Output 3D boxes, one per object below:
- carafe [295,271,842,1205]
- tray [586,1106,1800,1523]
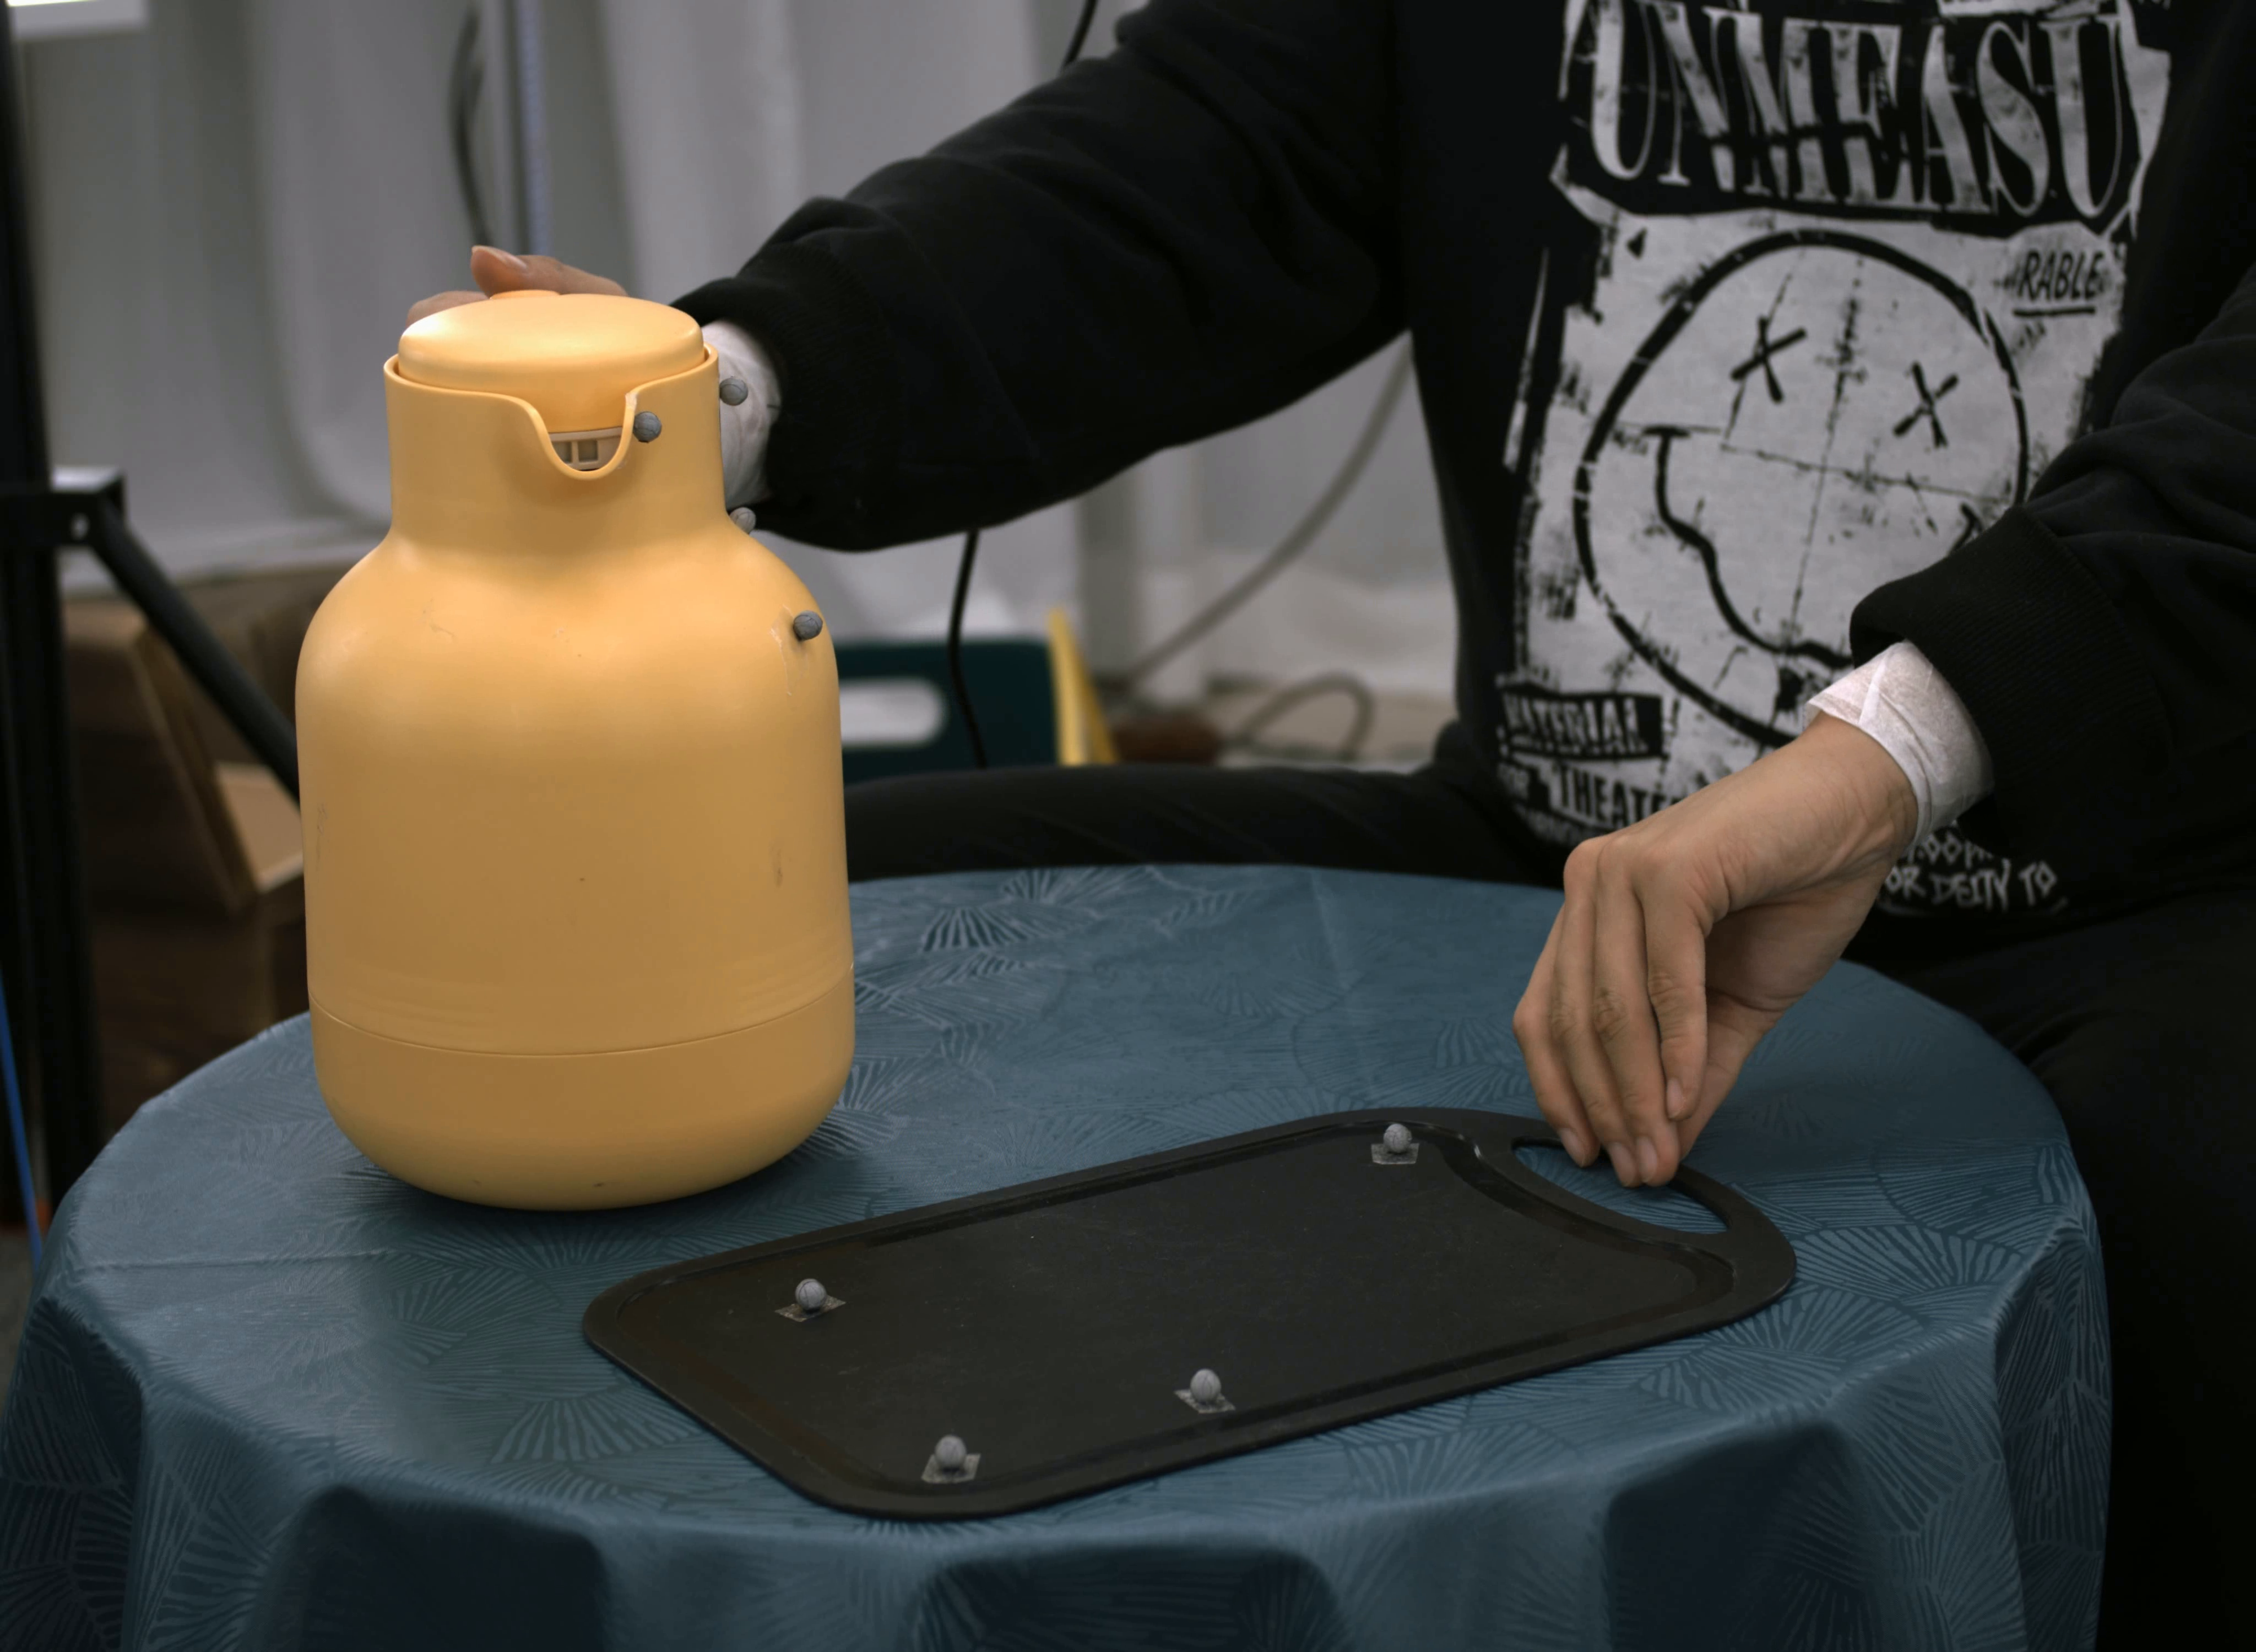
[{"bbox_3d":[-0.168,-0.034,1.599,0.161,0.260,0.205,-1,18,-10],"label":"carafe"},{"bbox_3d":[0.025,0.127,1.470,0.318,0.010,0.215,-11,18,-27],"label":"tray"}]
